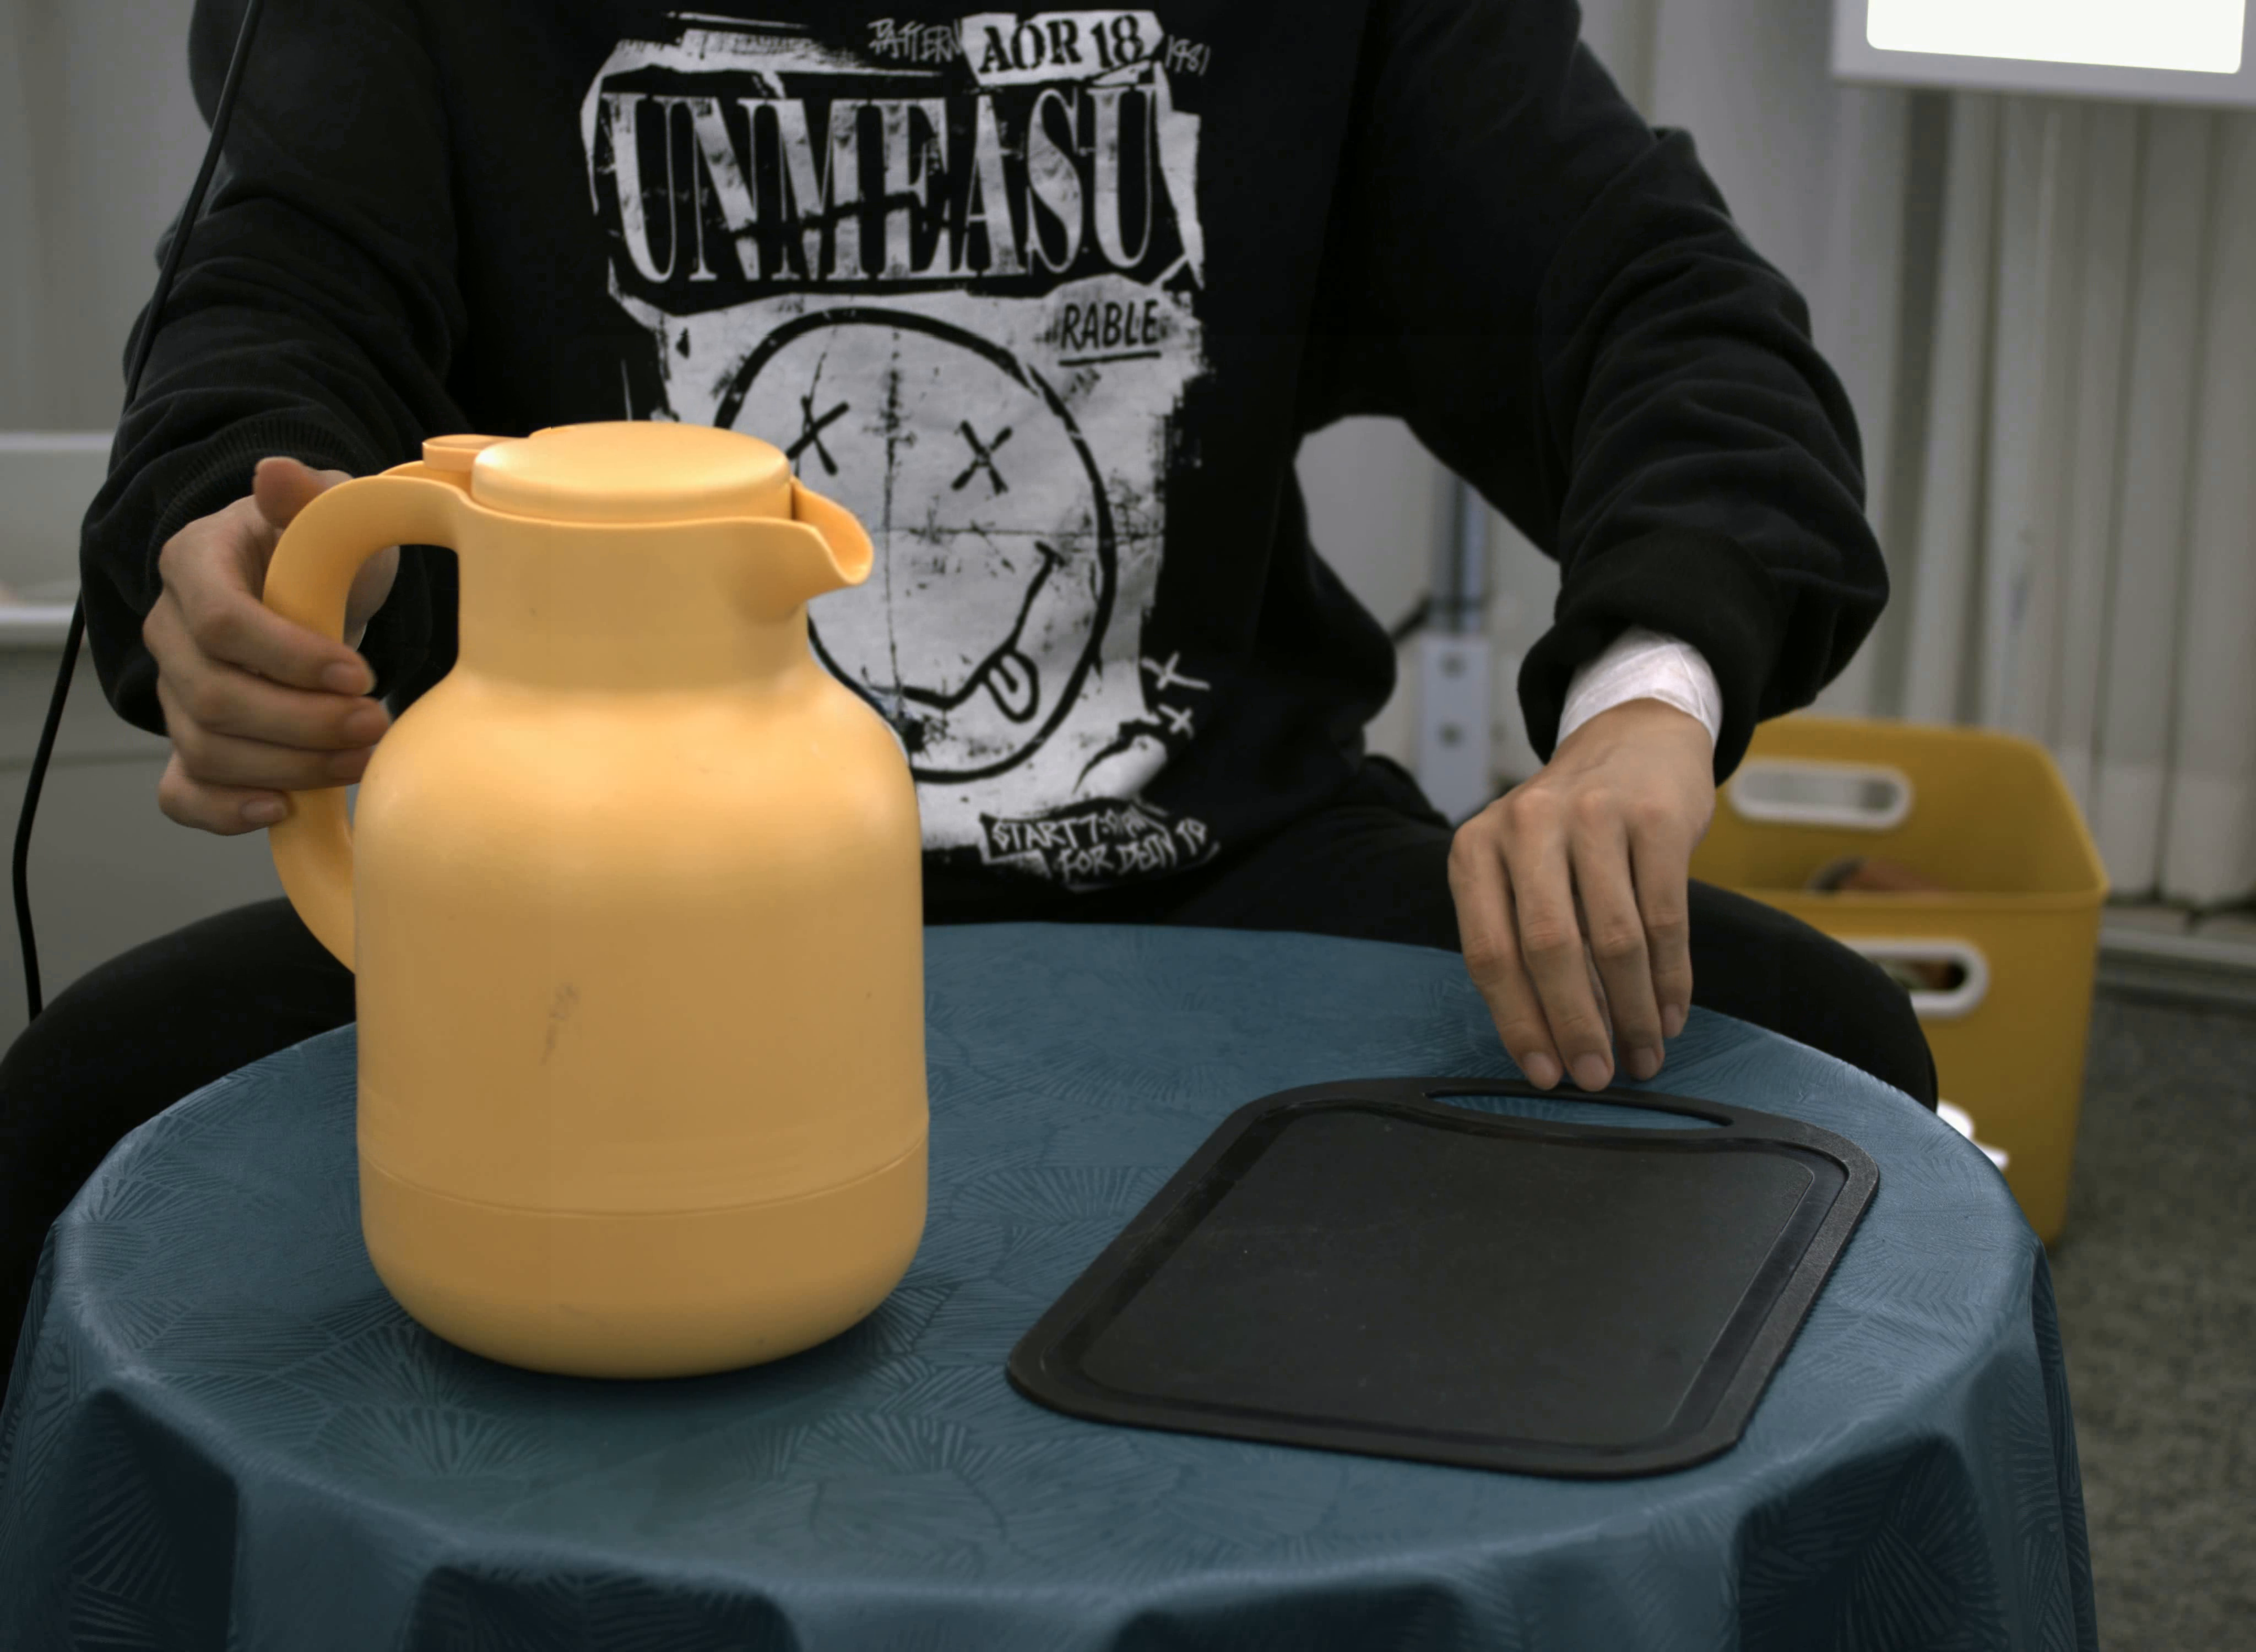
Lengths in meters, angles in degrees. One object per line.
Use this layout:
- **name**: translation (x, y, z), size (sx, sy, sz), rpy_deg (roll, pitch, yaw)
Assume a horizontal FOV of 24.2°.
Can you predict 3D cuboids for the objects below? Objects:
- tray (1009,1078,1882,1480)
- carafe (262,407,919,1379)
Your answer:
- **tray**: translation (0.103, 0.125, 1.567), size (0.209, 0.010, 0.325), rpy_deg (6, 16, 17)
- **carafe**: translation (-0.155, 0.011, 1.489), size (0.200, 0.262, 0.164), rpy_deg (11, 17, 27)
